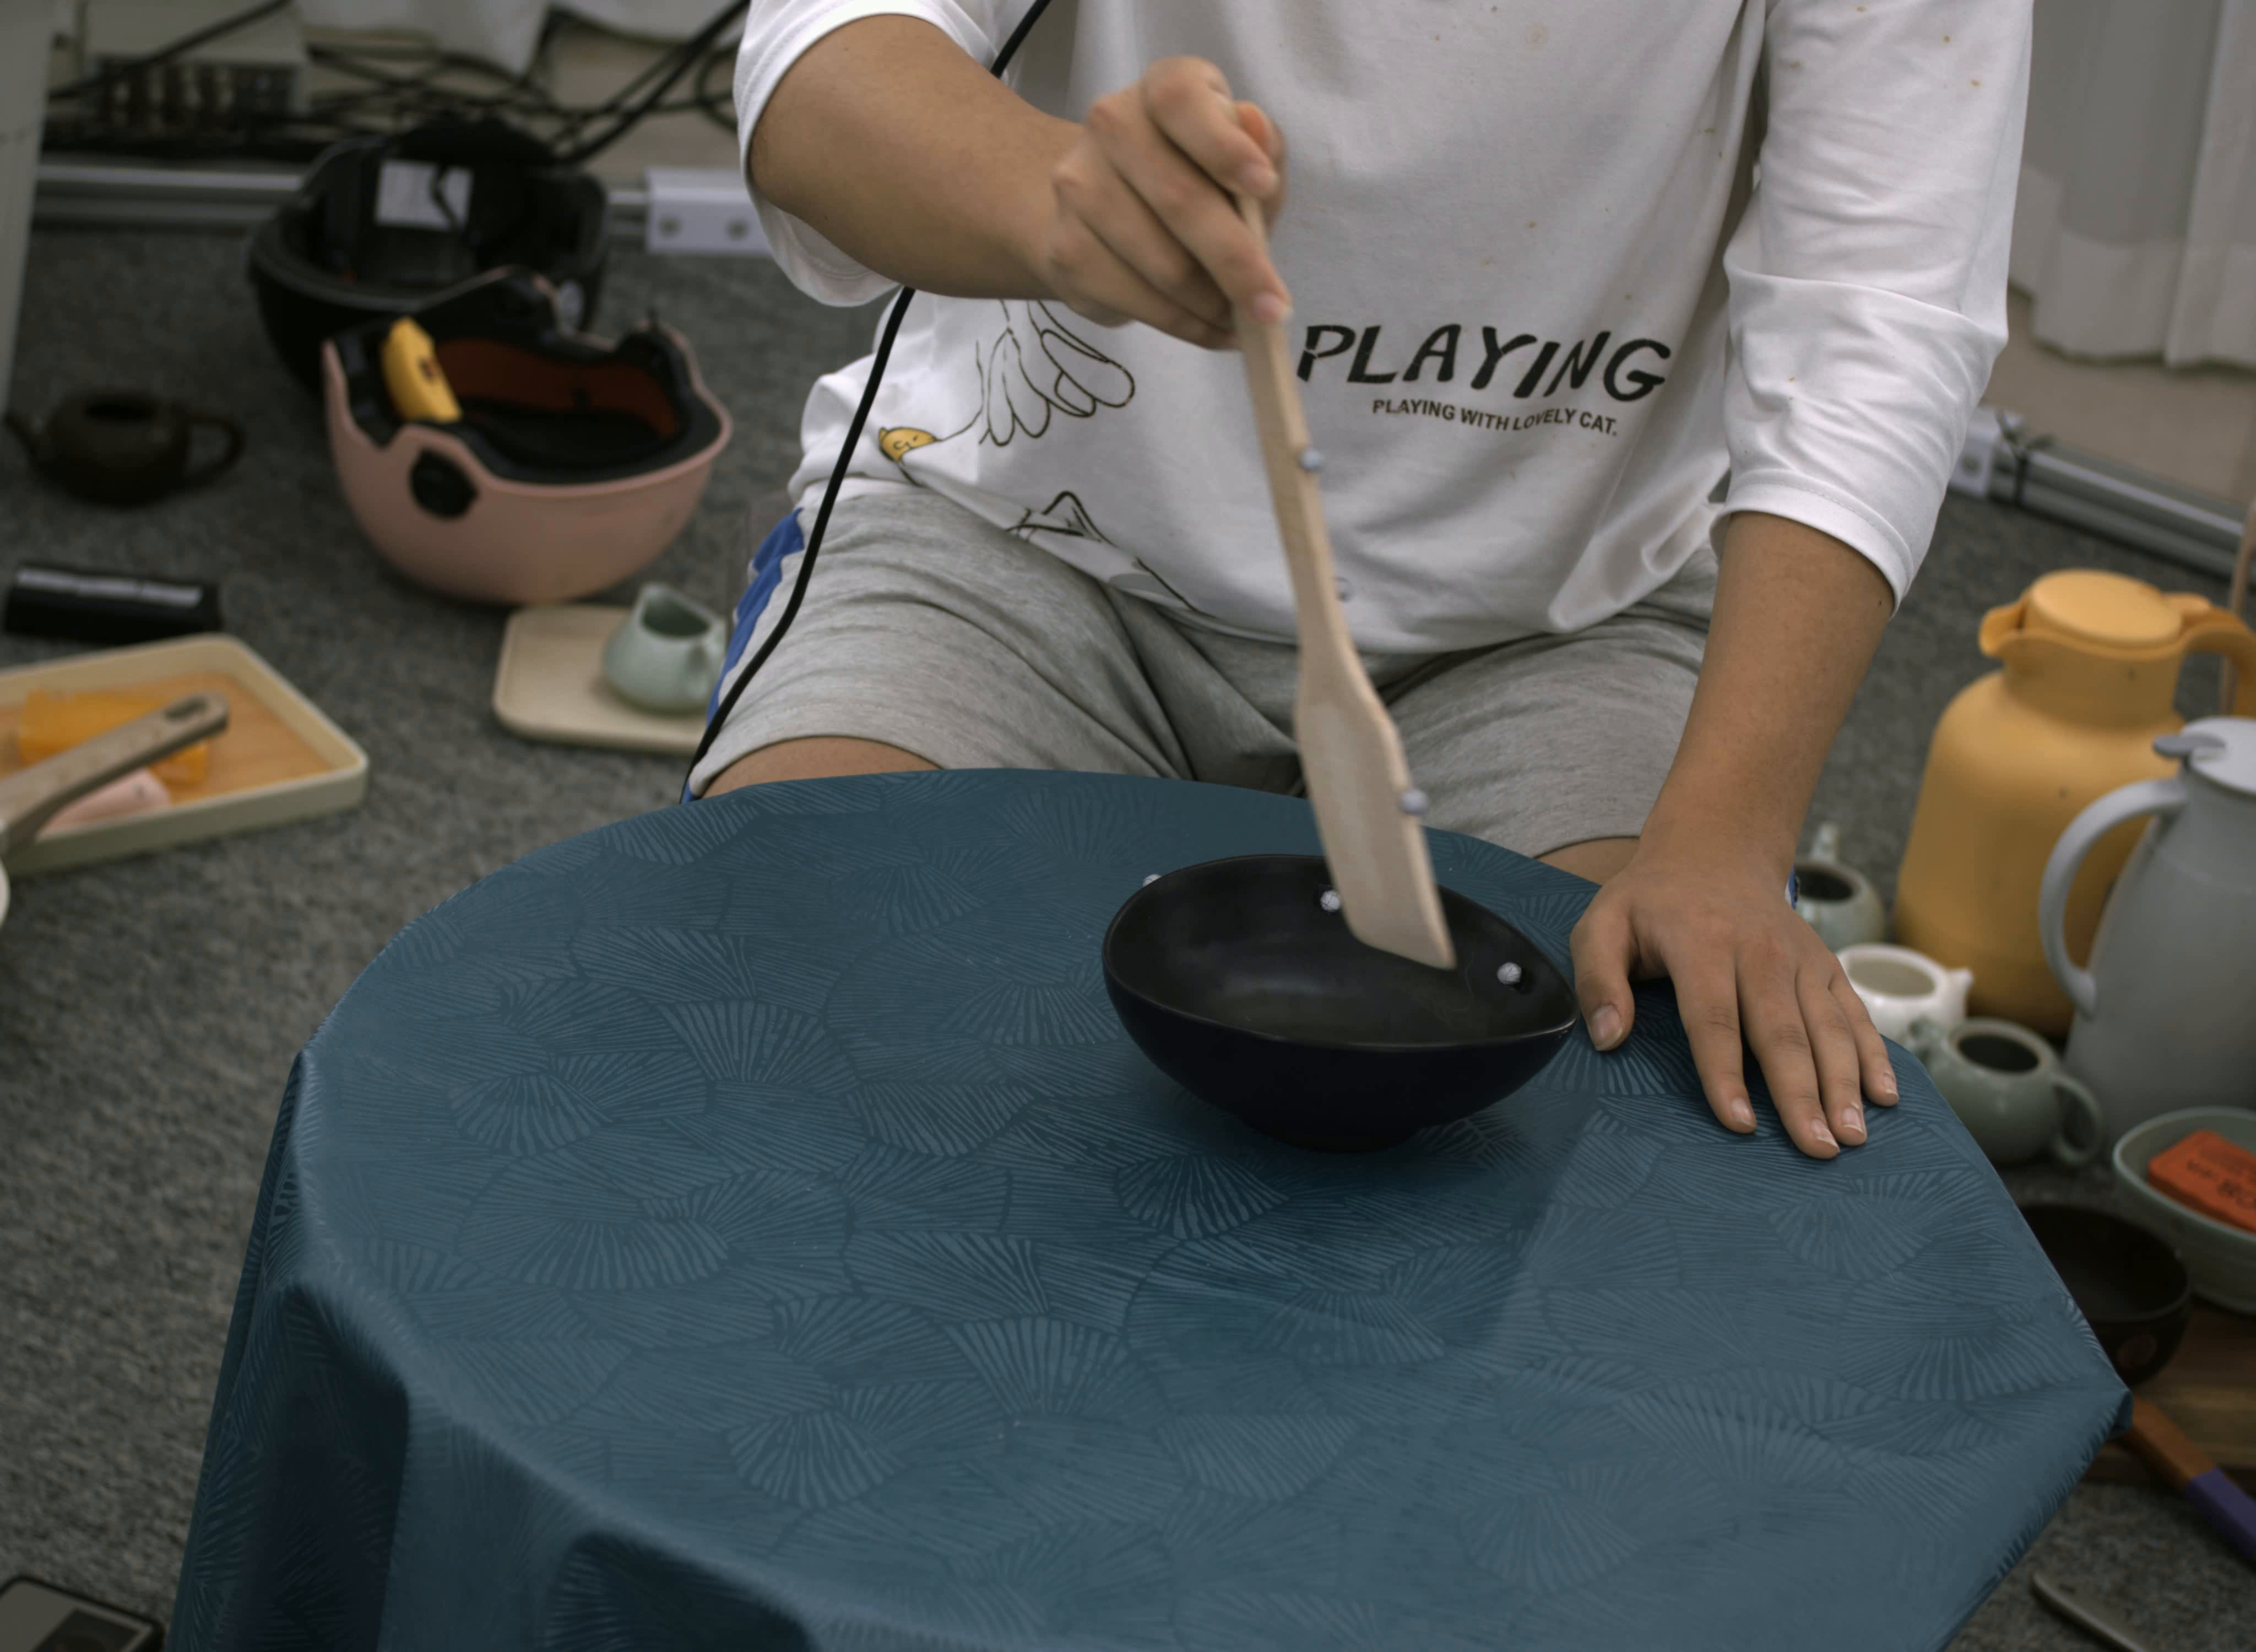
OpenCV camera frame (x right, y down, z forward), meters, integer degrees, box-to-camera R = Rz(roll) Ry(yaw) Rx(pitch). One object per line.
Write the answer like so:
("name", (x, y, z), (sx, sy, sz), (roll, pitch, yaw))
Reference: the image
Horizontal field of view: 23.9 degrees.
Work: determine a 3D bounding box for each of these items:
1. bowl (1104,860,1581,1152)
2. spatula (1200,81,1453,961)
("bowl", (0.072, 0.070, 1.860), (0.169, 0.066, 0.138), (3, 26, -12))
("spatula", (0.060, -0.097, 1.723), (0.010, 0.293, 0.072), (-17, 12, -20))
